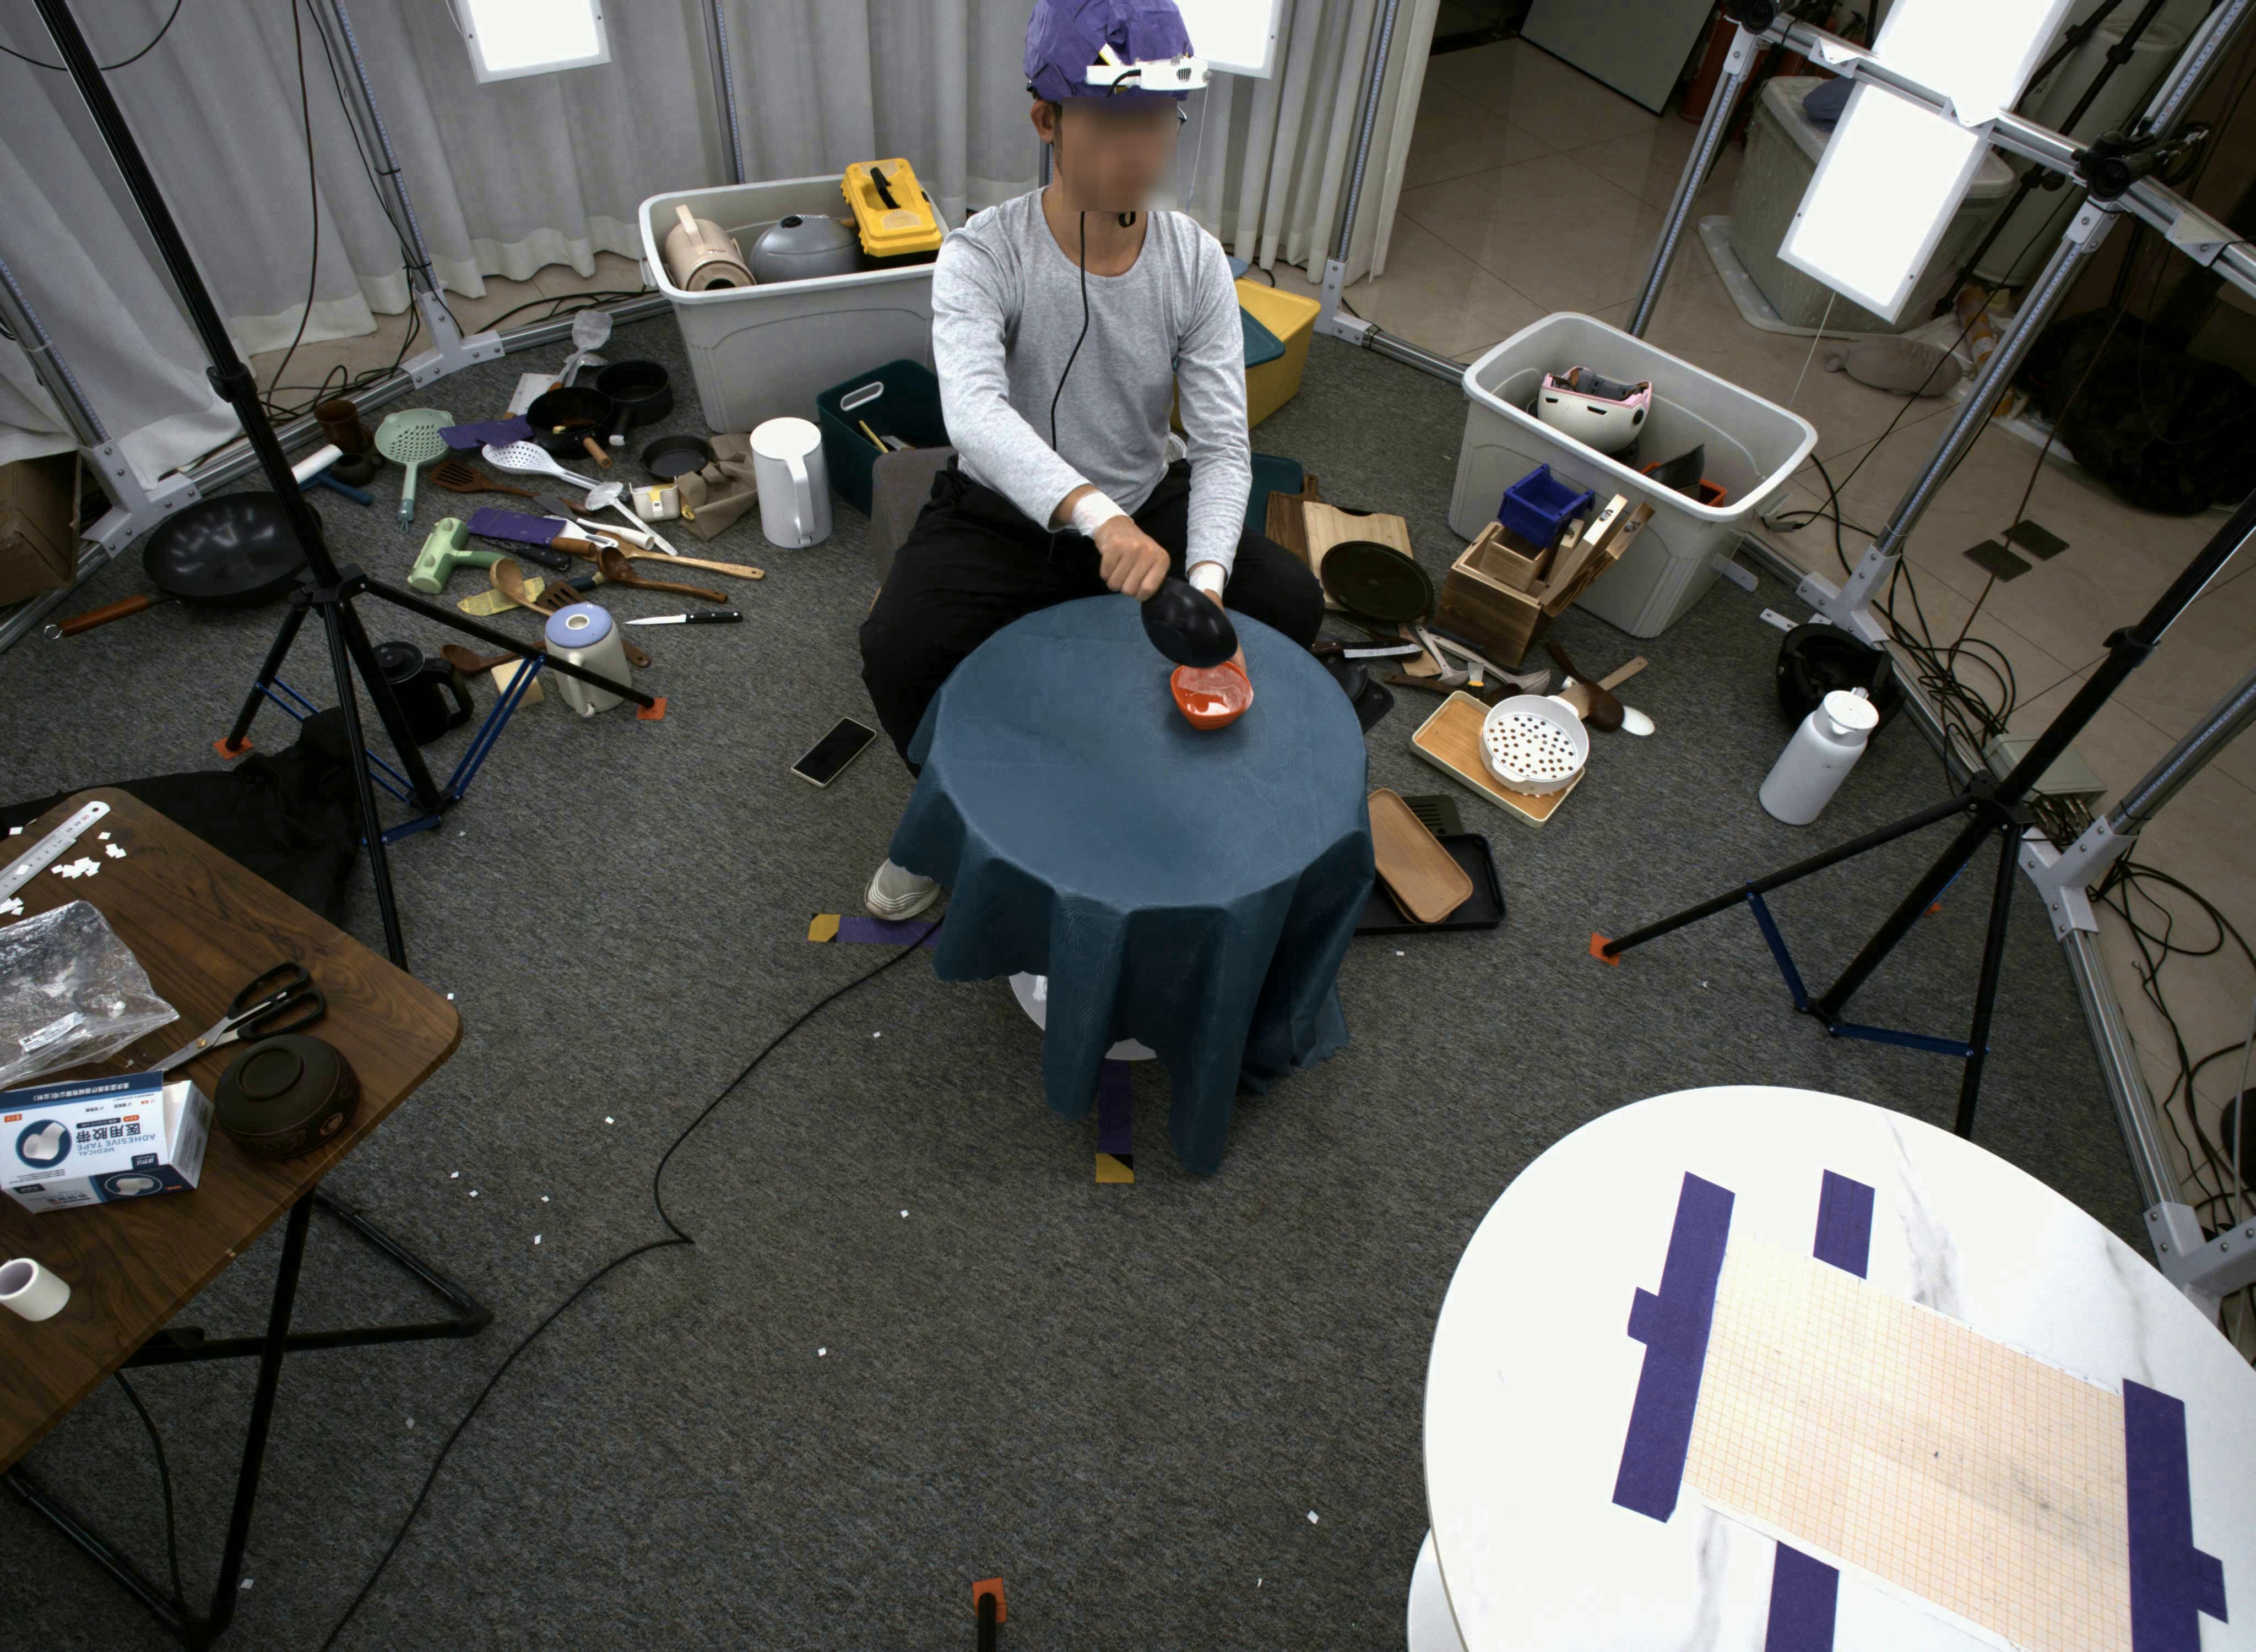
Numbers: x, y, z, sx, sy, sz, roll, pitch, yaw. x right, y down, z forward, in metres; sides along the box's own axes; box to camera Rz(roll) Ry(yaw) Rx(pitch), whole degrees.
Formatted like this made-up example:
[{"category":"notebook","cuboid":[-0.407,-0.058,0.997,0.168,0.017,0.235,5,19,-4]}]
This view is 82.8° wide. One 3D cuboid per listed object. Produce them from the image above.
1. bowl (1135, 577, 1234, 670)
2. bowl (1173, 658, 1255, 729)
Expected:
[{"category":"bowl","cuboid":[0.061,-0.240,1.587,0.141,0.137,0.050,30,67,20]},{"category":"bowl","cuboid":[0.118,-0.179,1.795,0.119,0.050,0.122,1,52,-2]}]
